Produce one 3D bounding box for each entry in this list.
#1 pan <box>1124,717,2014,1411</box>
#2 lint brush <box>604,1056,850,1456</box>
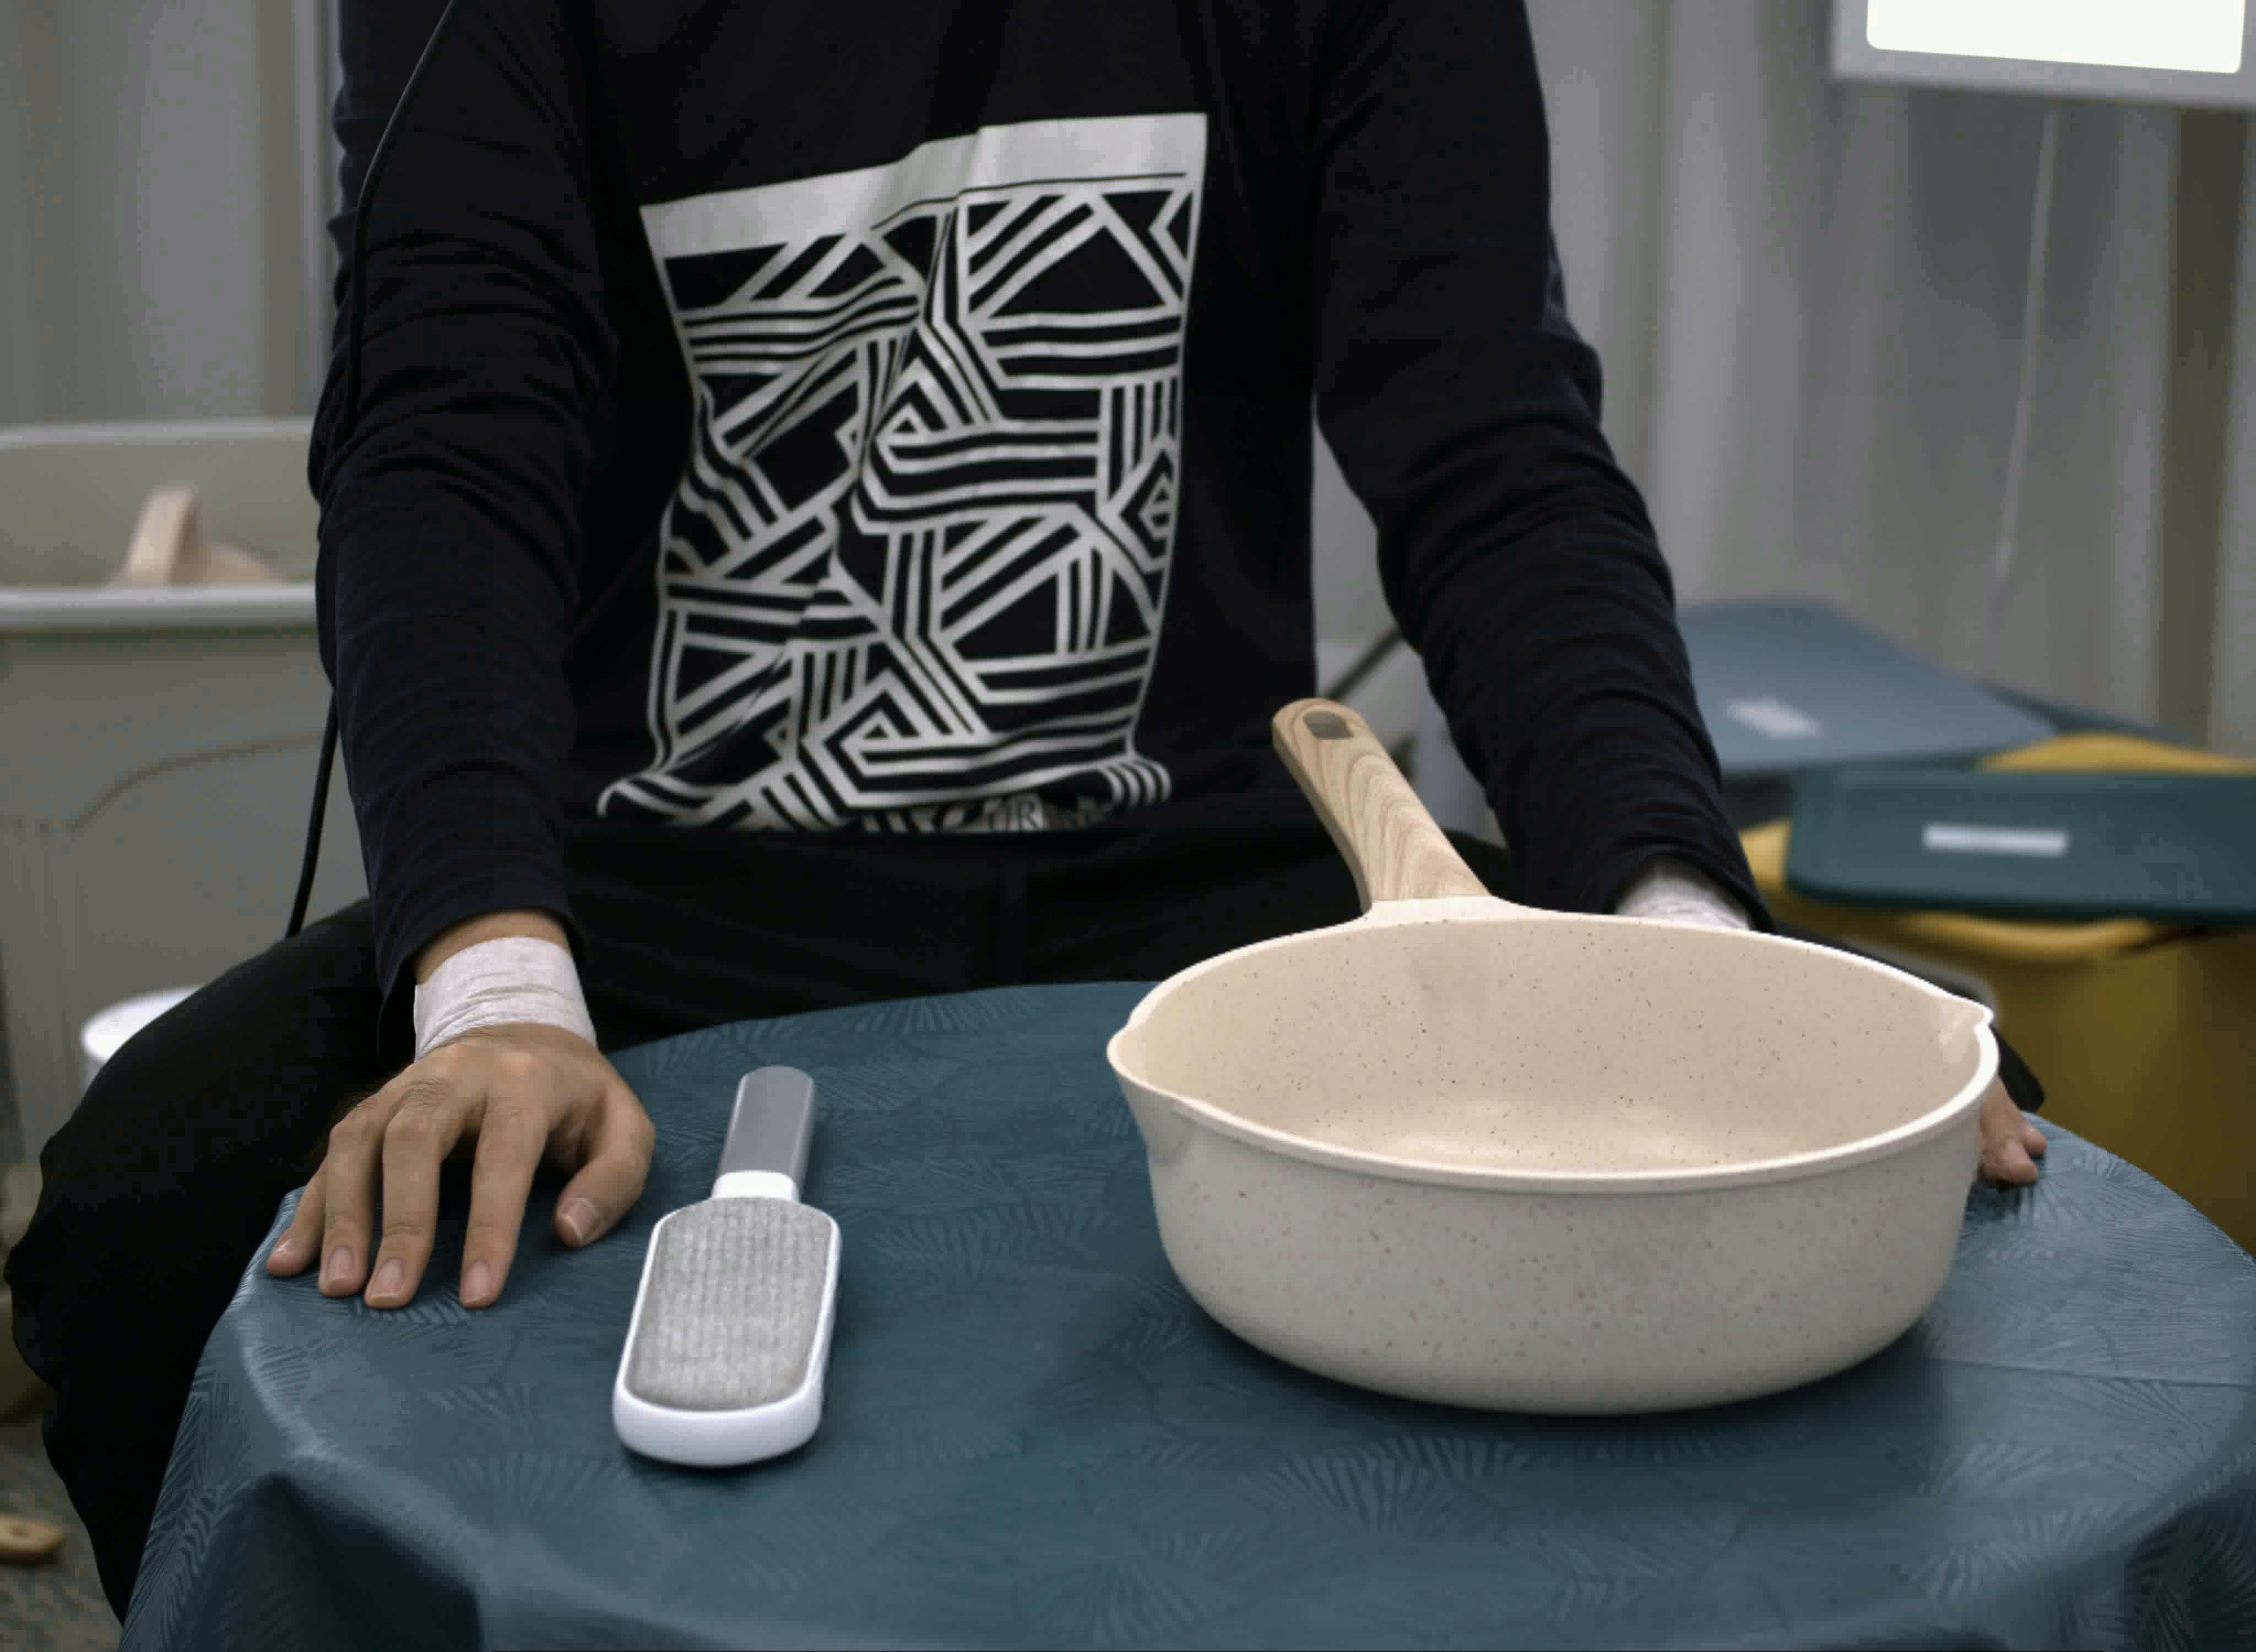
[{"bbox_3d":[0.109,0.067,1.610,0.263,0.103,0.431,-5,16,-11],"label":"pan"},{"bbox_3d":[-0.111,0.121,1.538,0.060,0.021,0.307,-4,15,1],"label":"lint brush"}]
